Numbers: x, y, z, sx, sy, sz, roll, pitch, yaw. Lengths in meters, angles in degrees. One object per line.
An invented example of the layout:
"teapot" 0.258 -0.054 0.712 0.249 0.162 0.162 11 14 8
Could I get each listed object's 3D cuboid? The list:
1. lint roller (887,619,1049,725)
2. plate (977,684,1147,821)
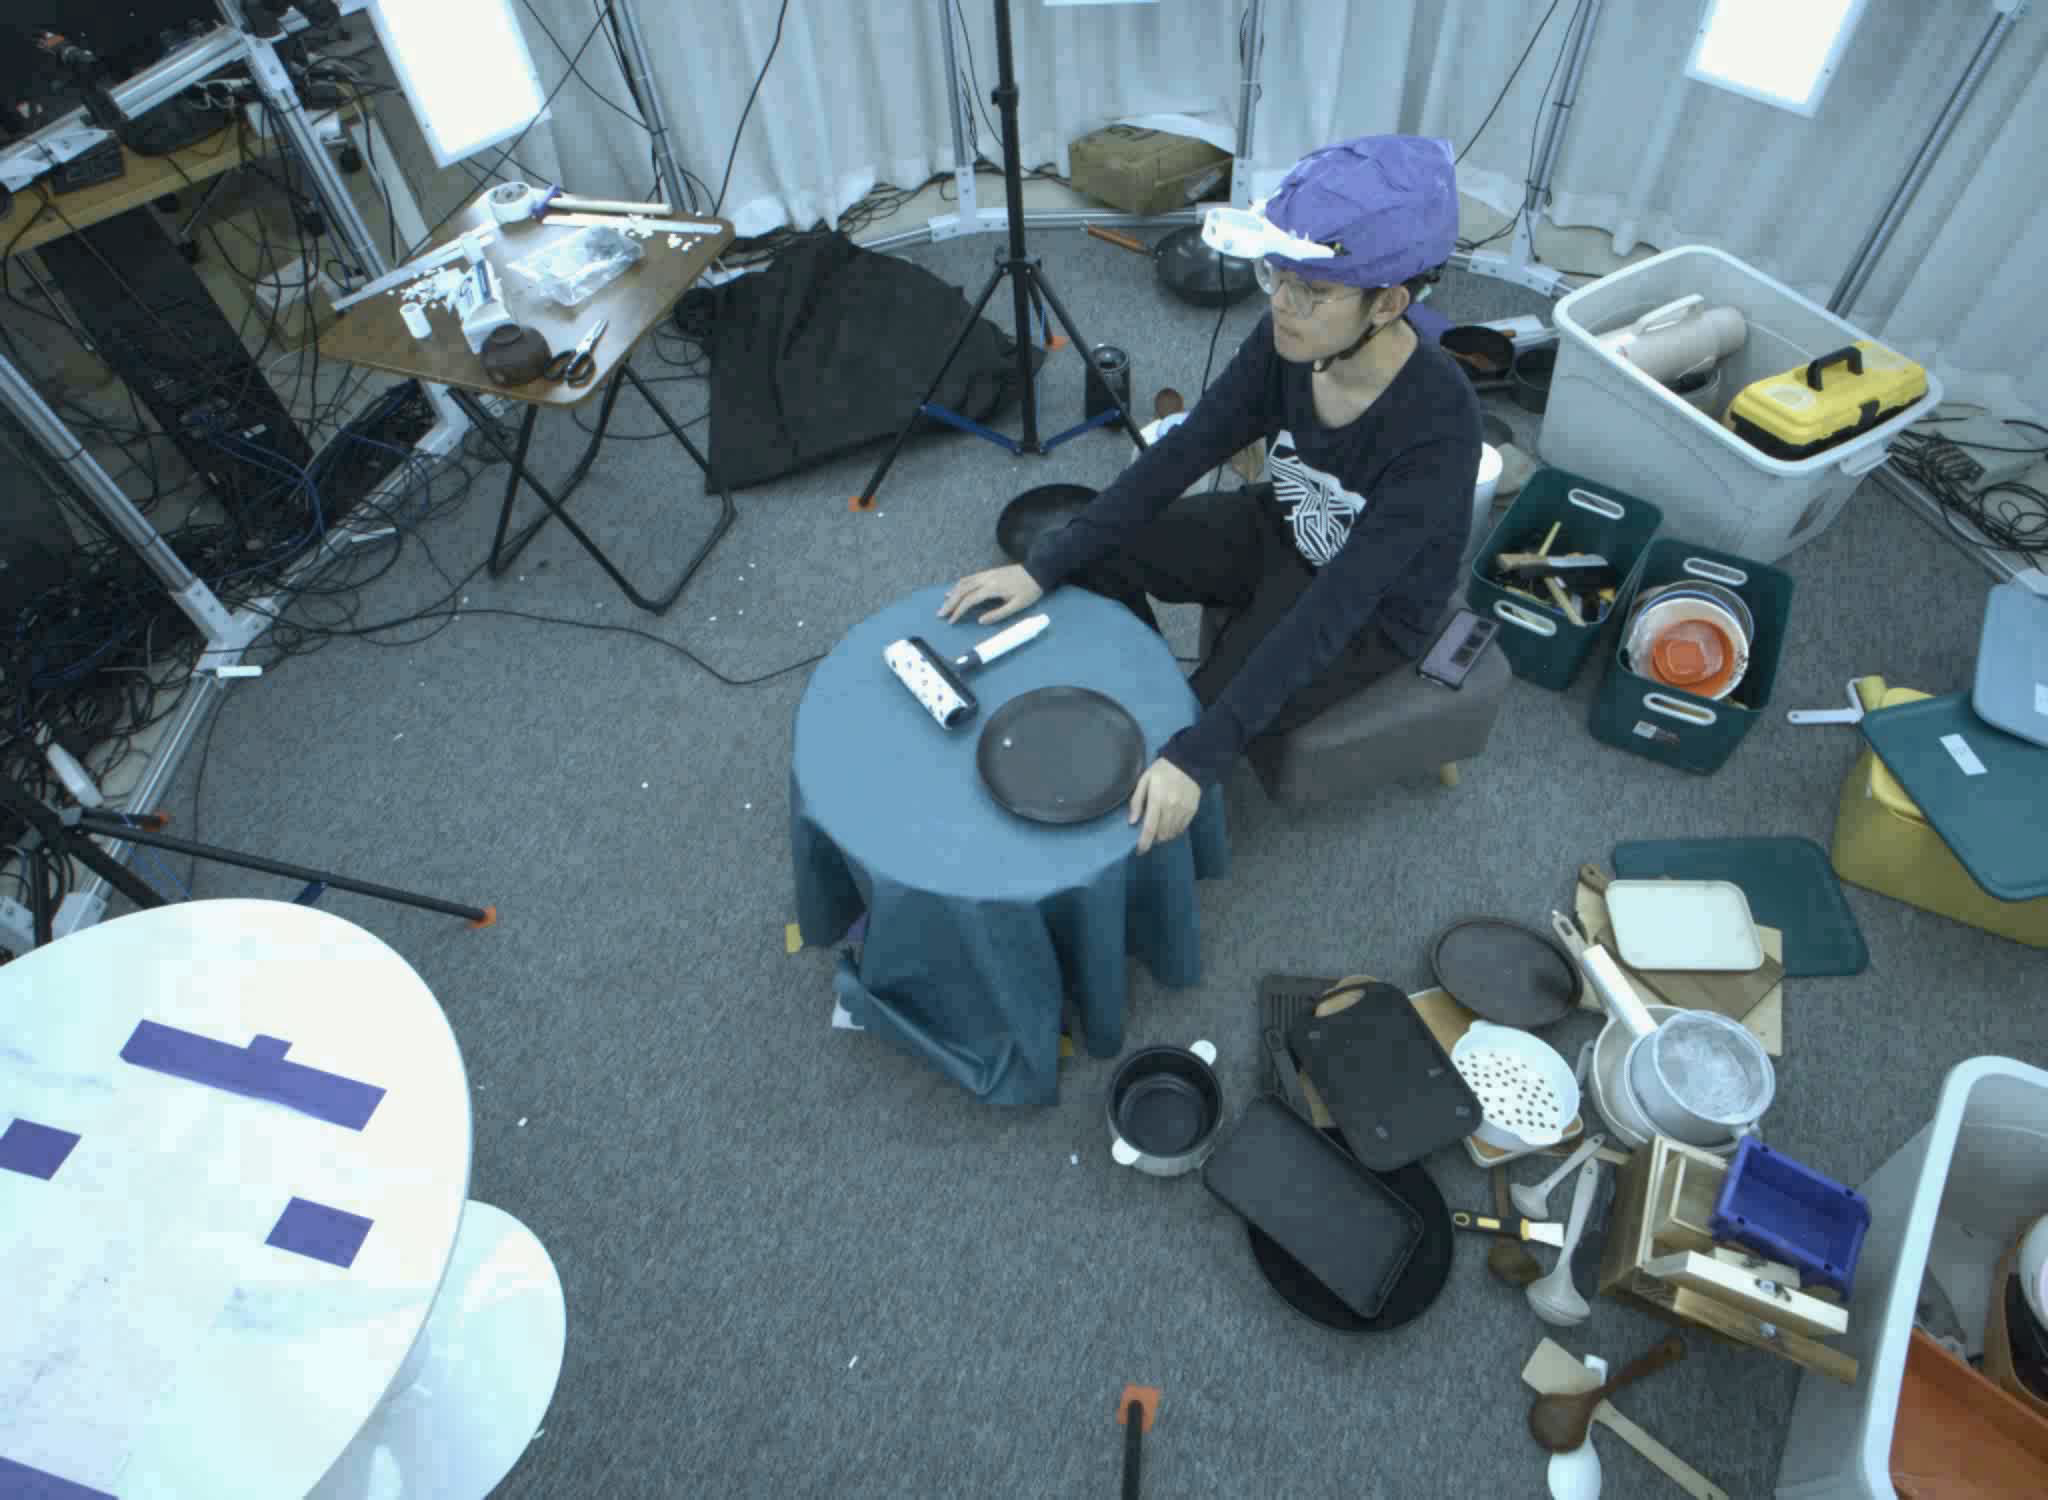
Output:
"lint roller" -0.066 -0.149 1.879 0.249 0.051 0.173 -30 58 -23
"plate" 0.054 0.005 1.776 0.244 0.023 0.242 0 54 1
